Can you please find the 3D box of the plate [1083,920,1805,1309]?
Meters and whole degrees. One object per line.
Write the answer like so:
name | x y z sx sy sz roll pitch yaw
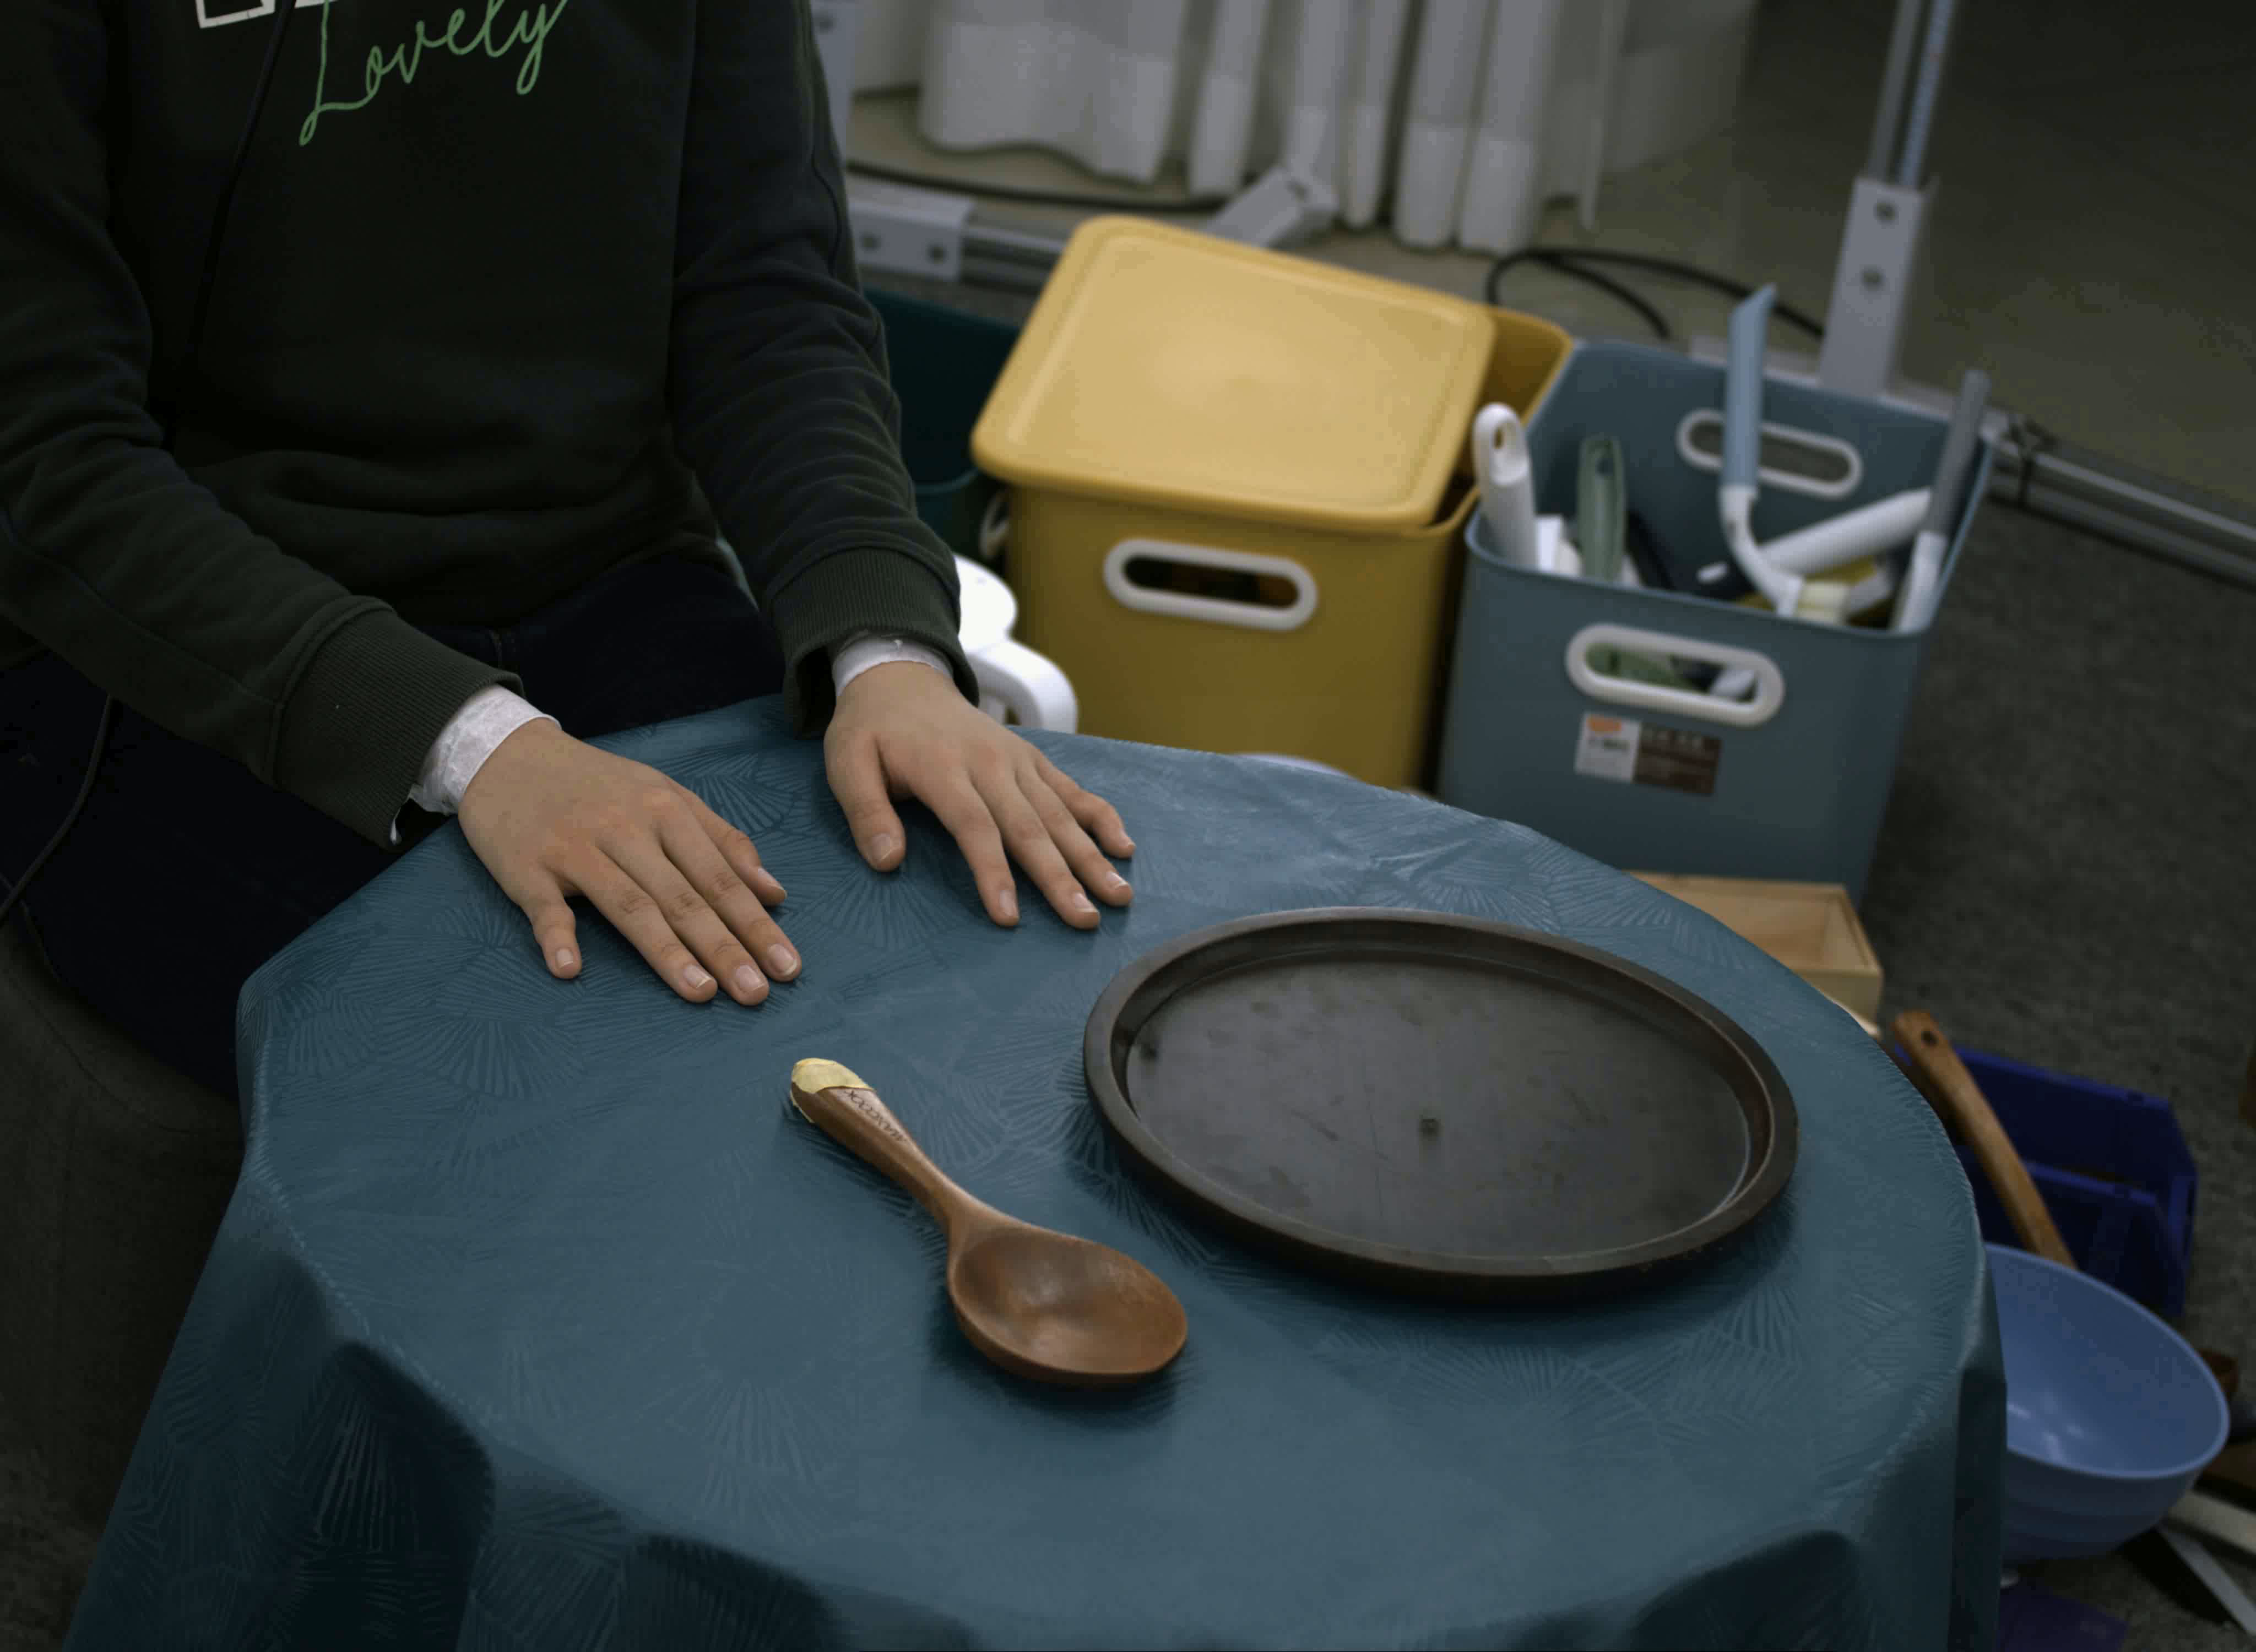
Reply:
plate | 0.109 0.098 1.852 0.254 0.029 0.256 6 27 -4

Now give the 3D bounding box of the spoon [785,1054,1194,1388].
spoon | -0.053 0.131 1.755 0.075 0.017 0.218 -11 32 -31
